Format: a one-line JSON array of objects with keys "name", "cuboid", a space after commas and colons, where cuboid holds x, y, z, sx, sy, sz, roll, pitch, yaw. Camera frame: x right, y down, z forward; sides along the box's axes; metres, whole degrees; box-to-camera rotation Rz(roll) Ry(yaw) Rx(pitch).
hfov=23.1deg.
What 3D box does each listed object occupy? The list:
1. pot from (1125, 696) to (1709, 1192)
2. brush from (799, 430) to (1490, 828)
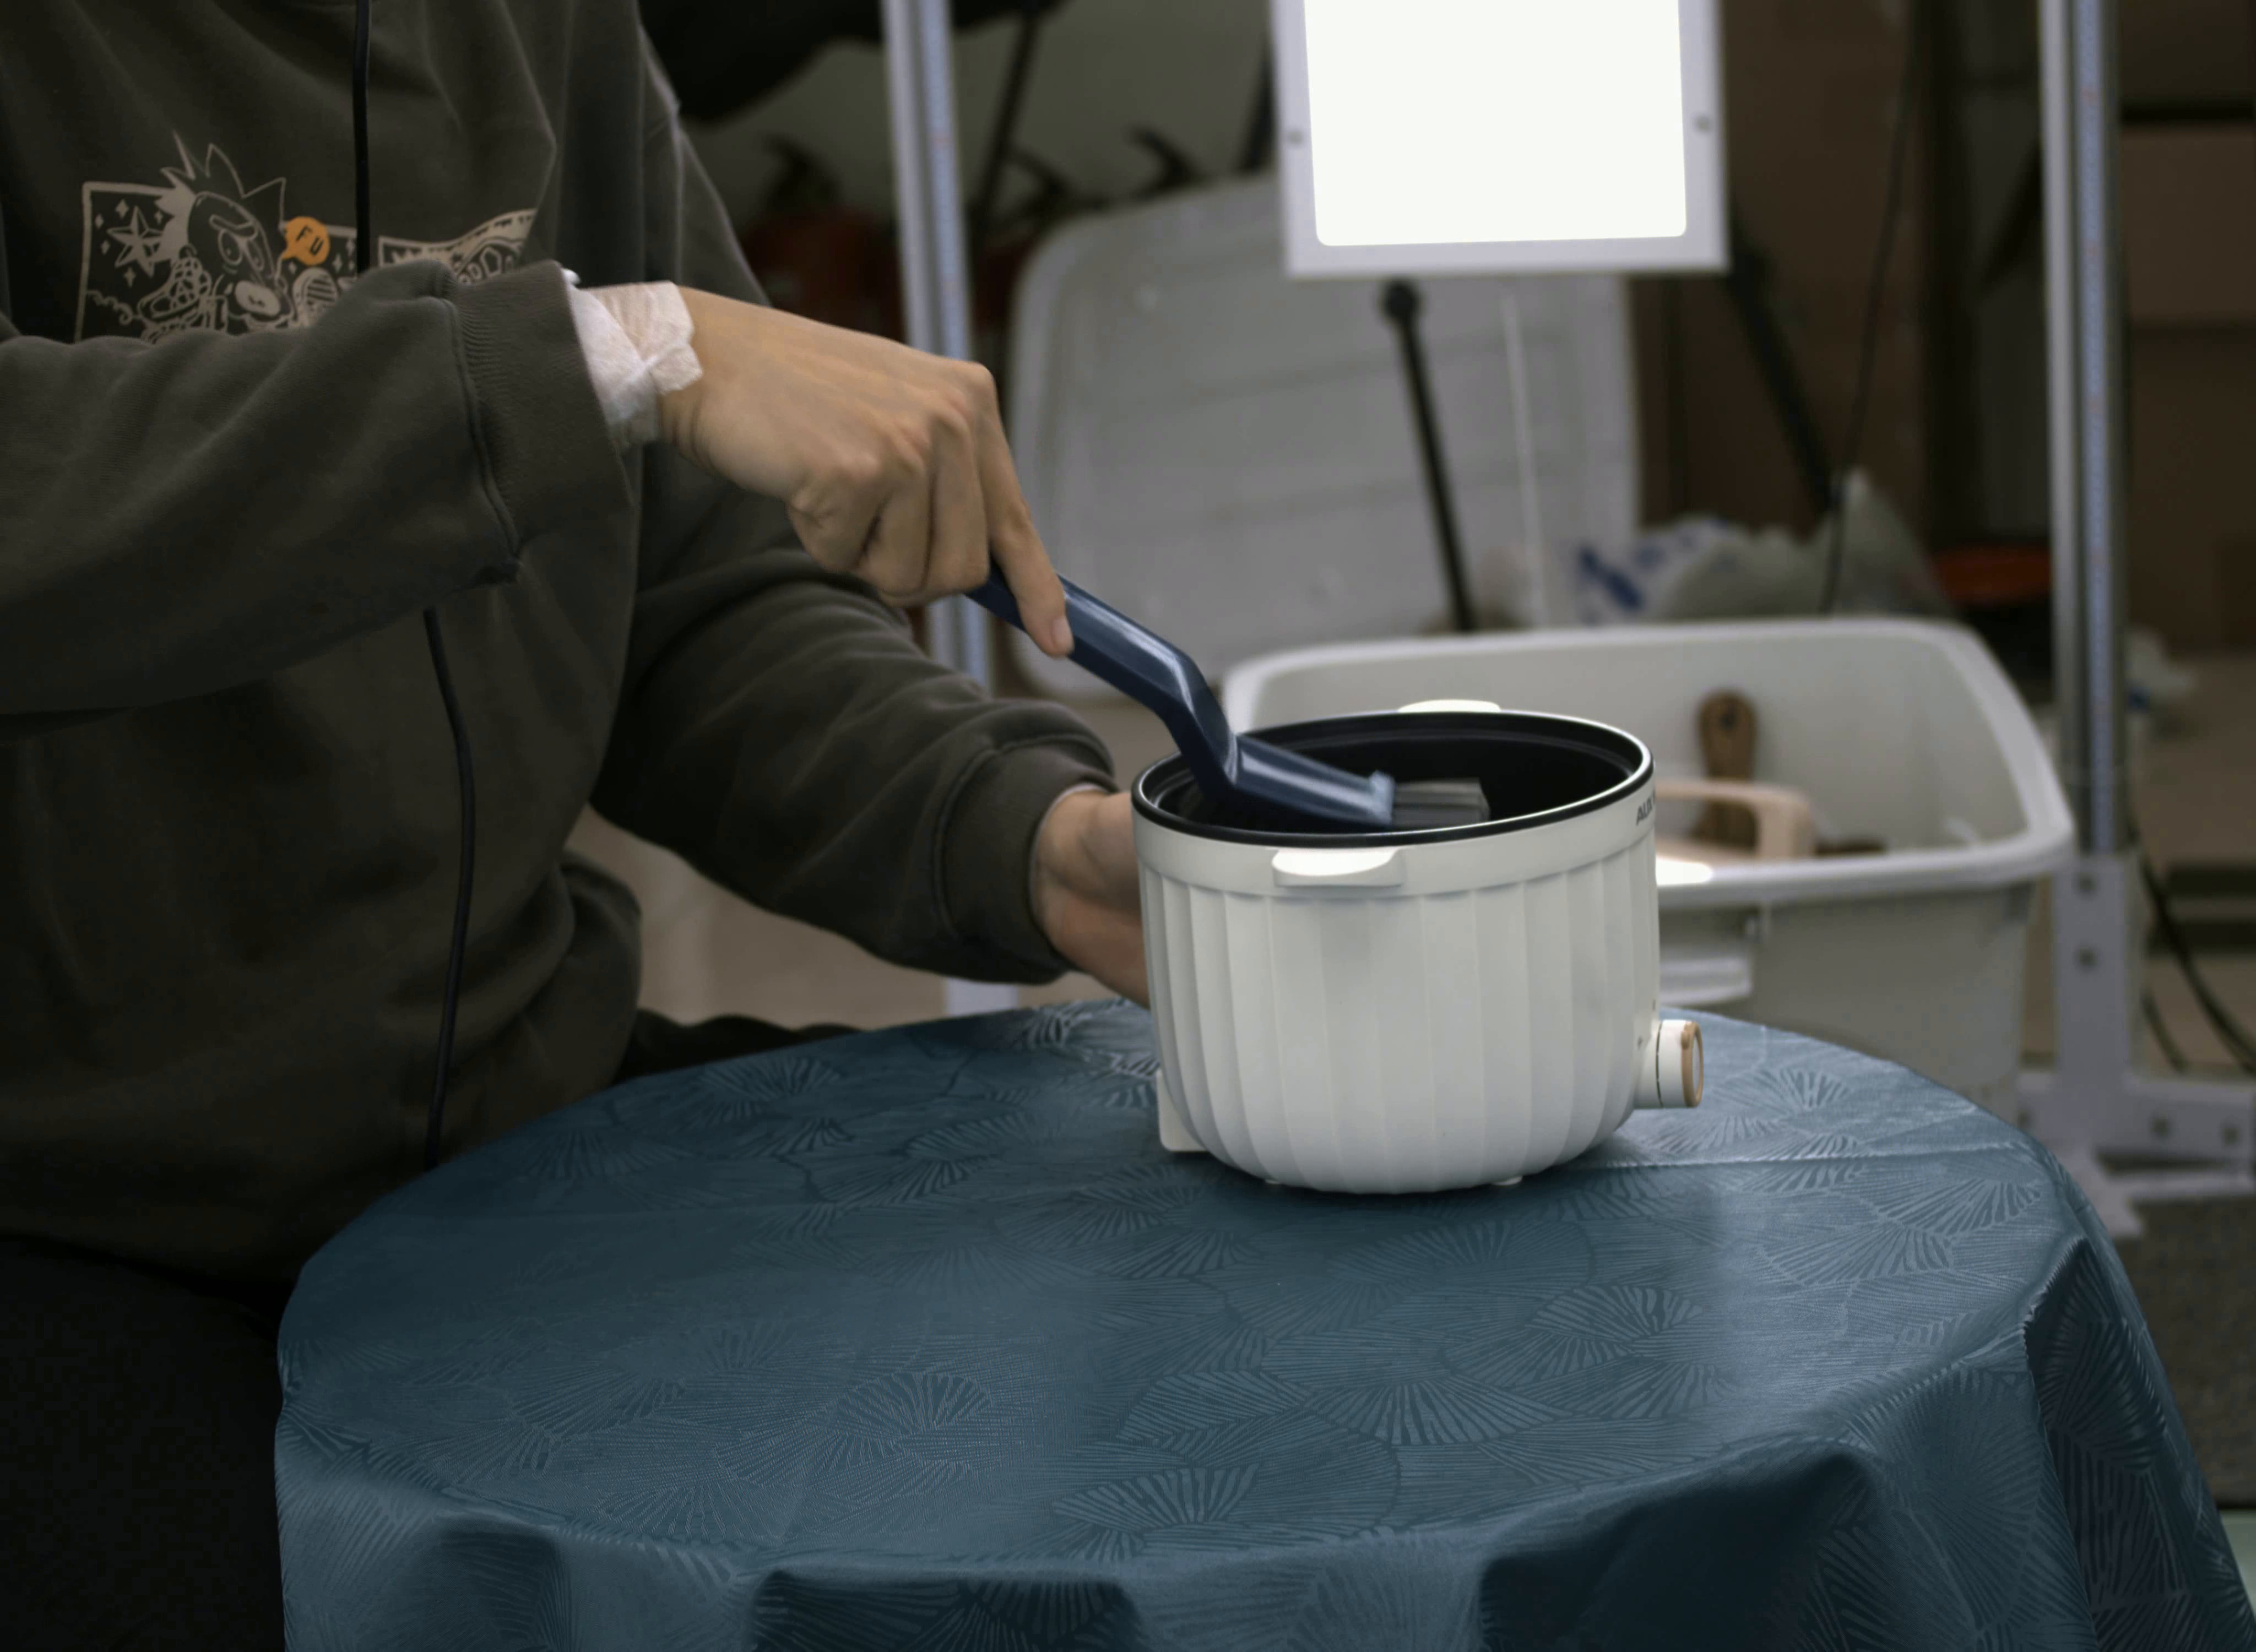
[{"name": "pot", "cuboid": [0.101, 0.043, 1.904, 0.192, 0.143, 0.237, -5, 15, 16]}, {"name": "brush", "cuboid": [0.007, -0.057, 1.864, 0.098, 0.269, 0.033, -27, 37, 37]}]
